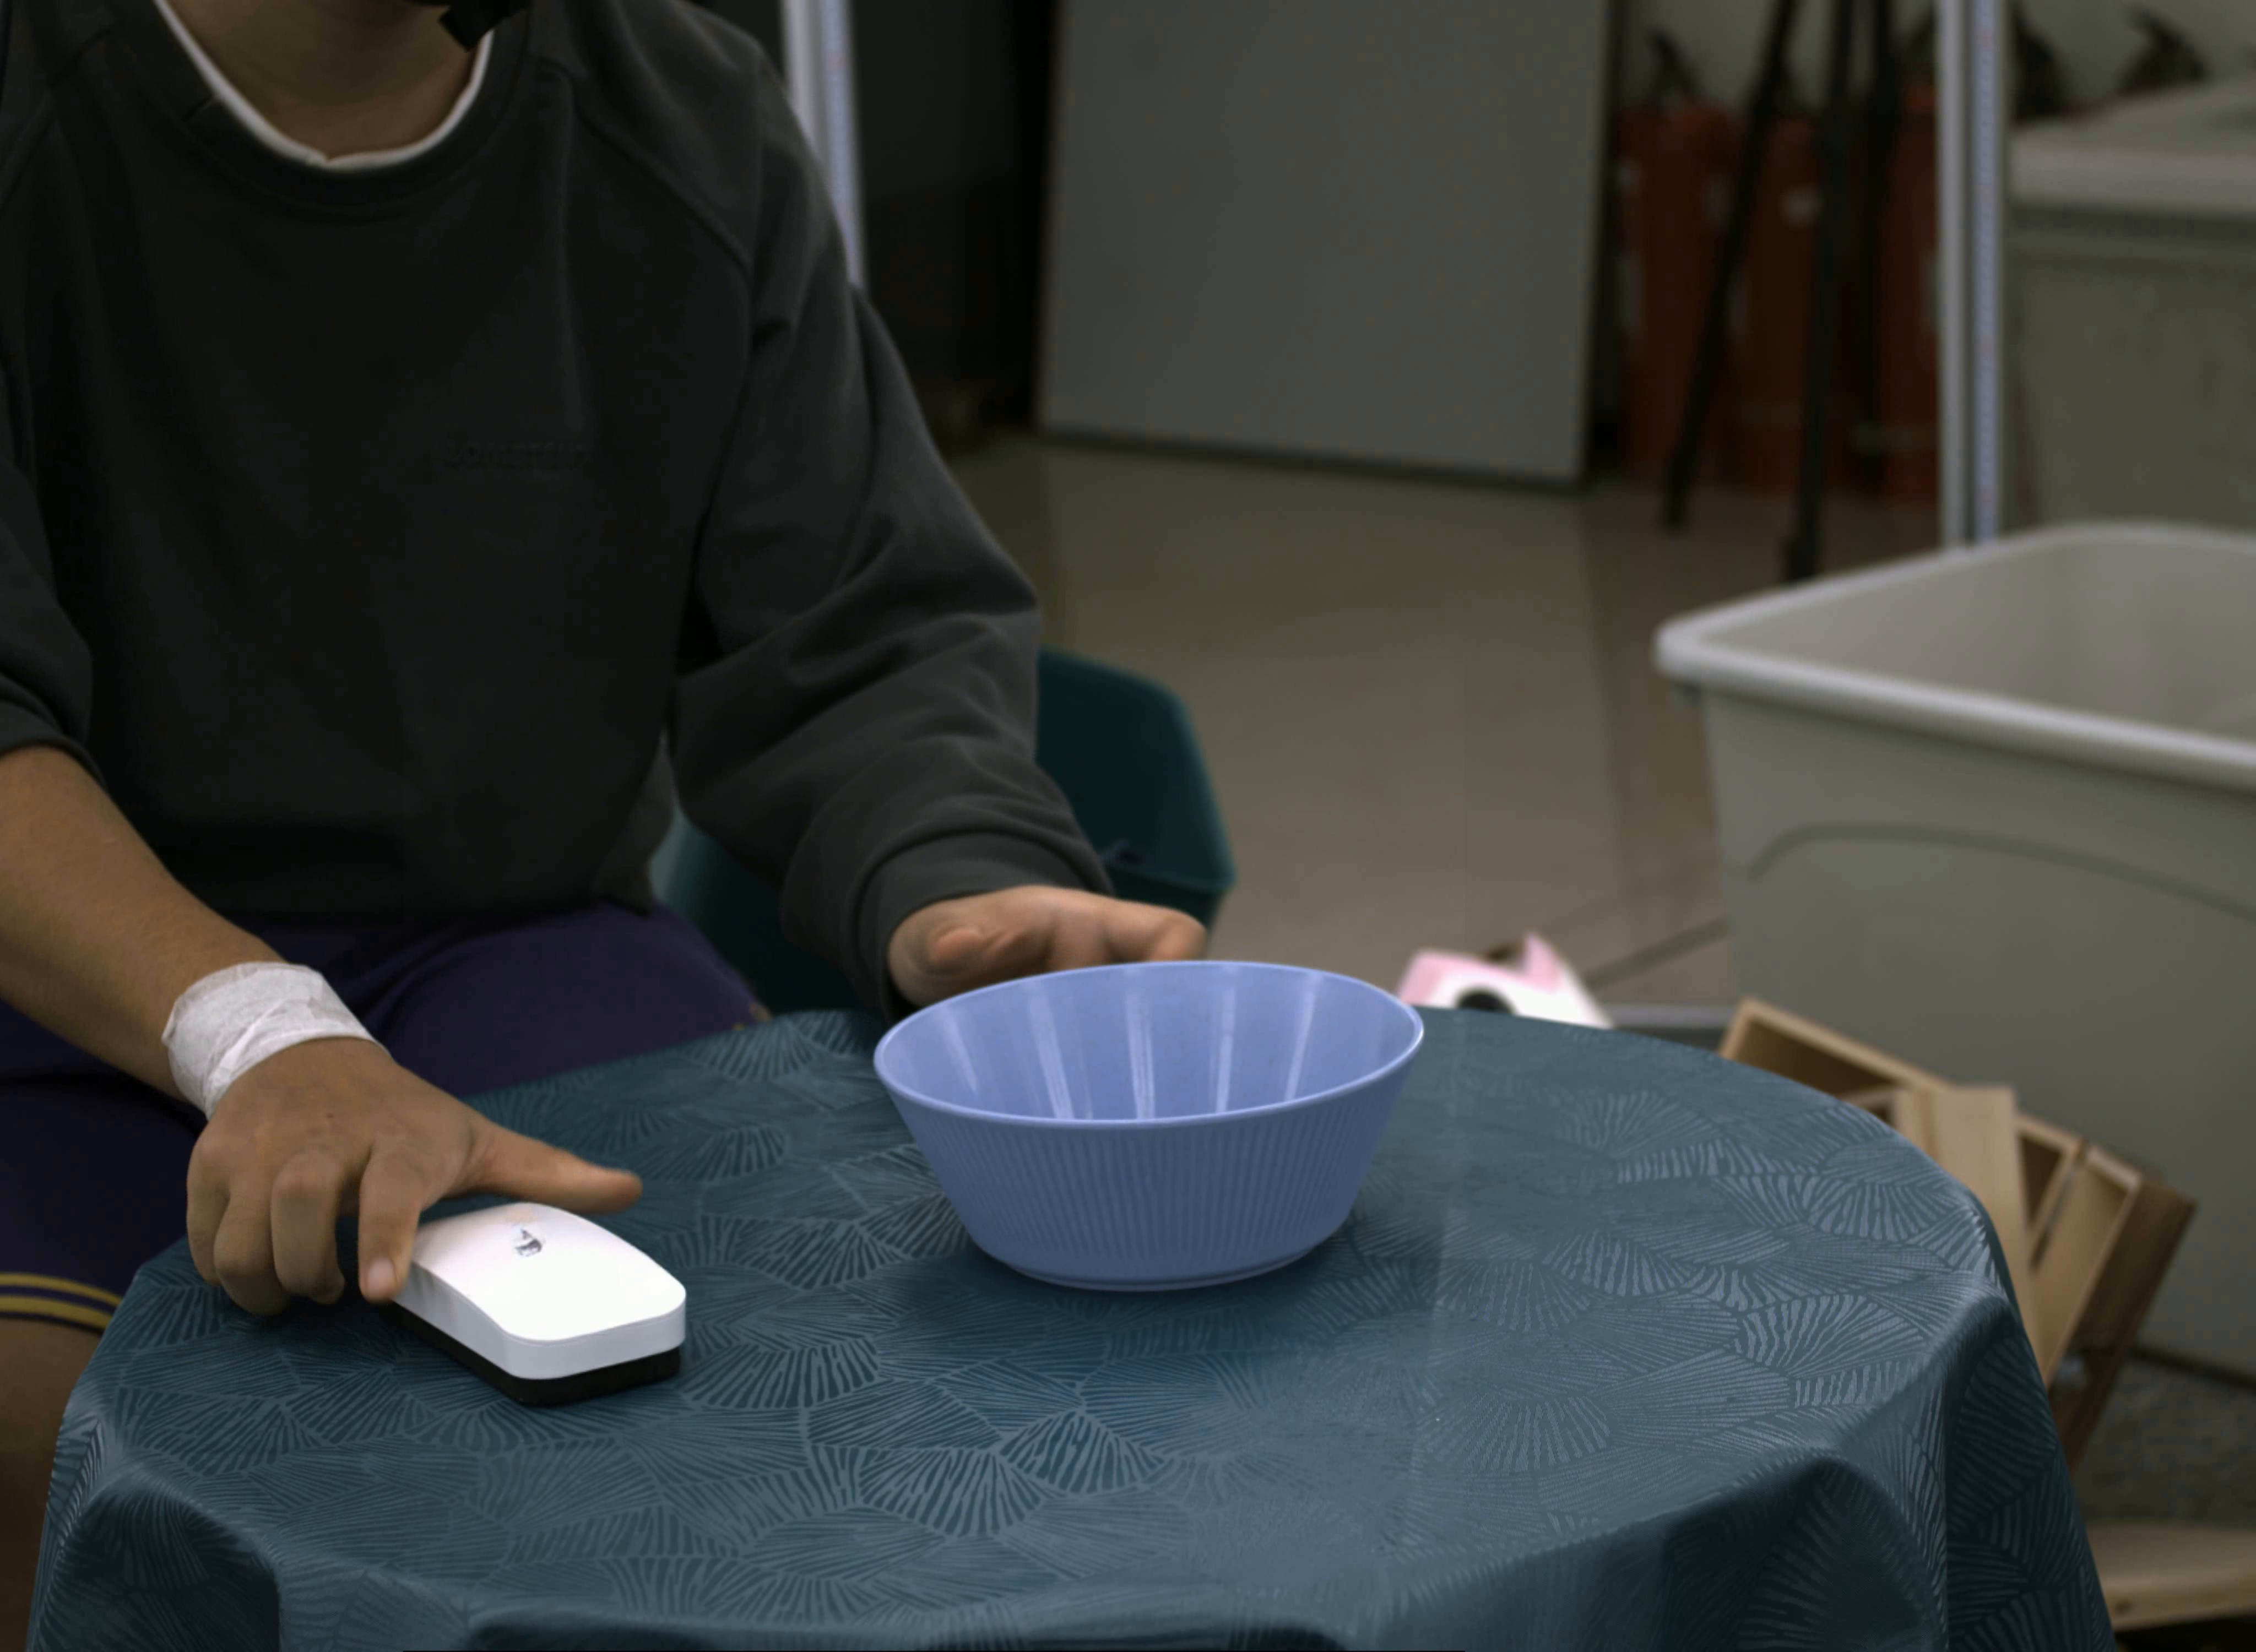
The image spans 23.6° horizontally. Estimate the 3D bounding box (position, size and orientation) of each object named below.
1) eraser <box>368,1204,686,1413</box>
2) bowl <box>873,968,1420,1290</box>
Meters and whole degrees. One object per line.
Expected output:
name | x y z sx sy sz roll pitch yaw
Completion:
eraser | -0.184 0.144 1.661 0.062 0.035 0.133 -9 16 -27
bowl | 0.007 0.098 1.711 0.174 0.071 0.176 -3 13 0
